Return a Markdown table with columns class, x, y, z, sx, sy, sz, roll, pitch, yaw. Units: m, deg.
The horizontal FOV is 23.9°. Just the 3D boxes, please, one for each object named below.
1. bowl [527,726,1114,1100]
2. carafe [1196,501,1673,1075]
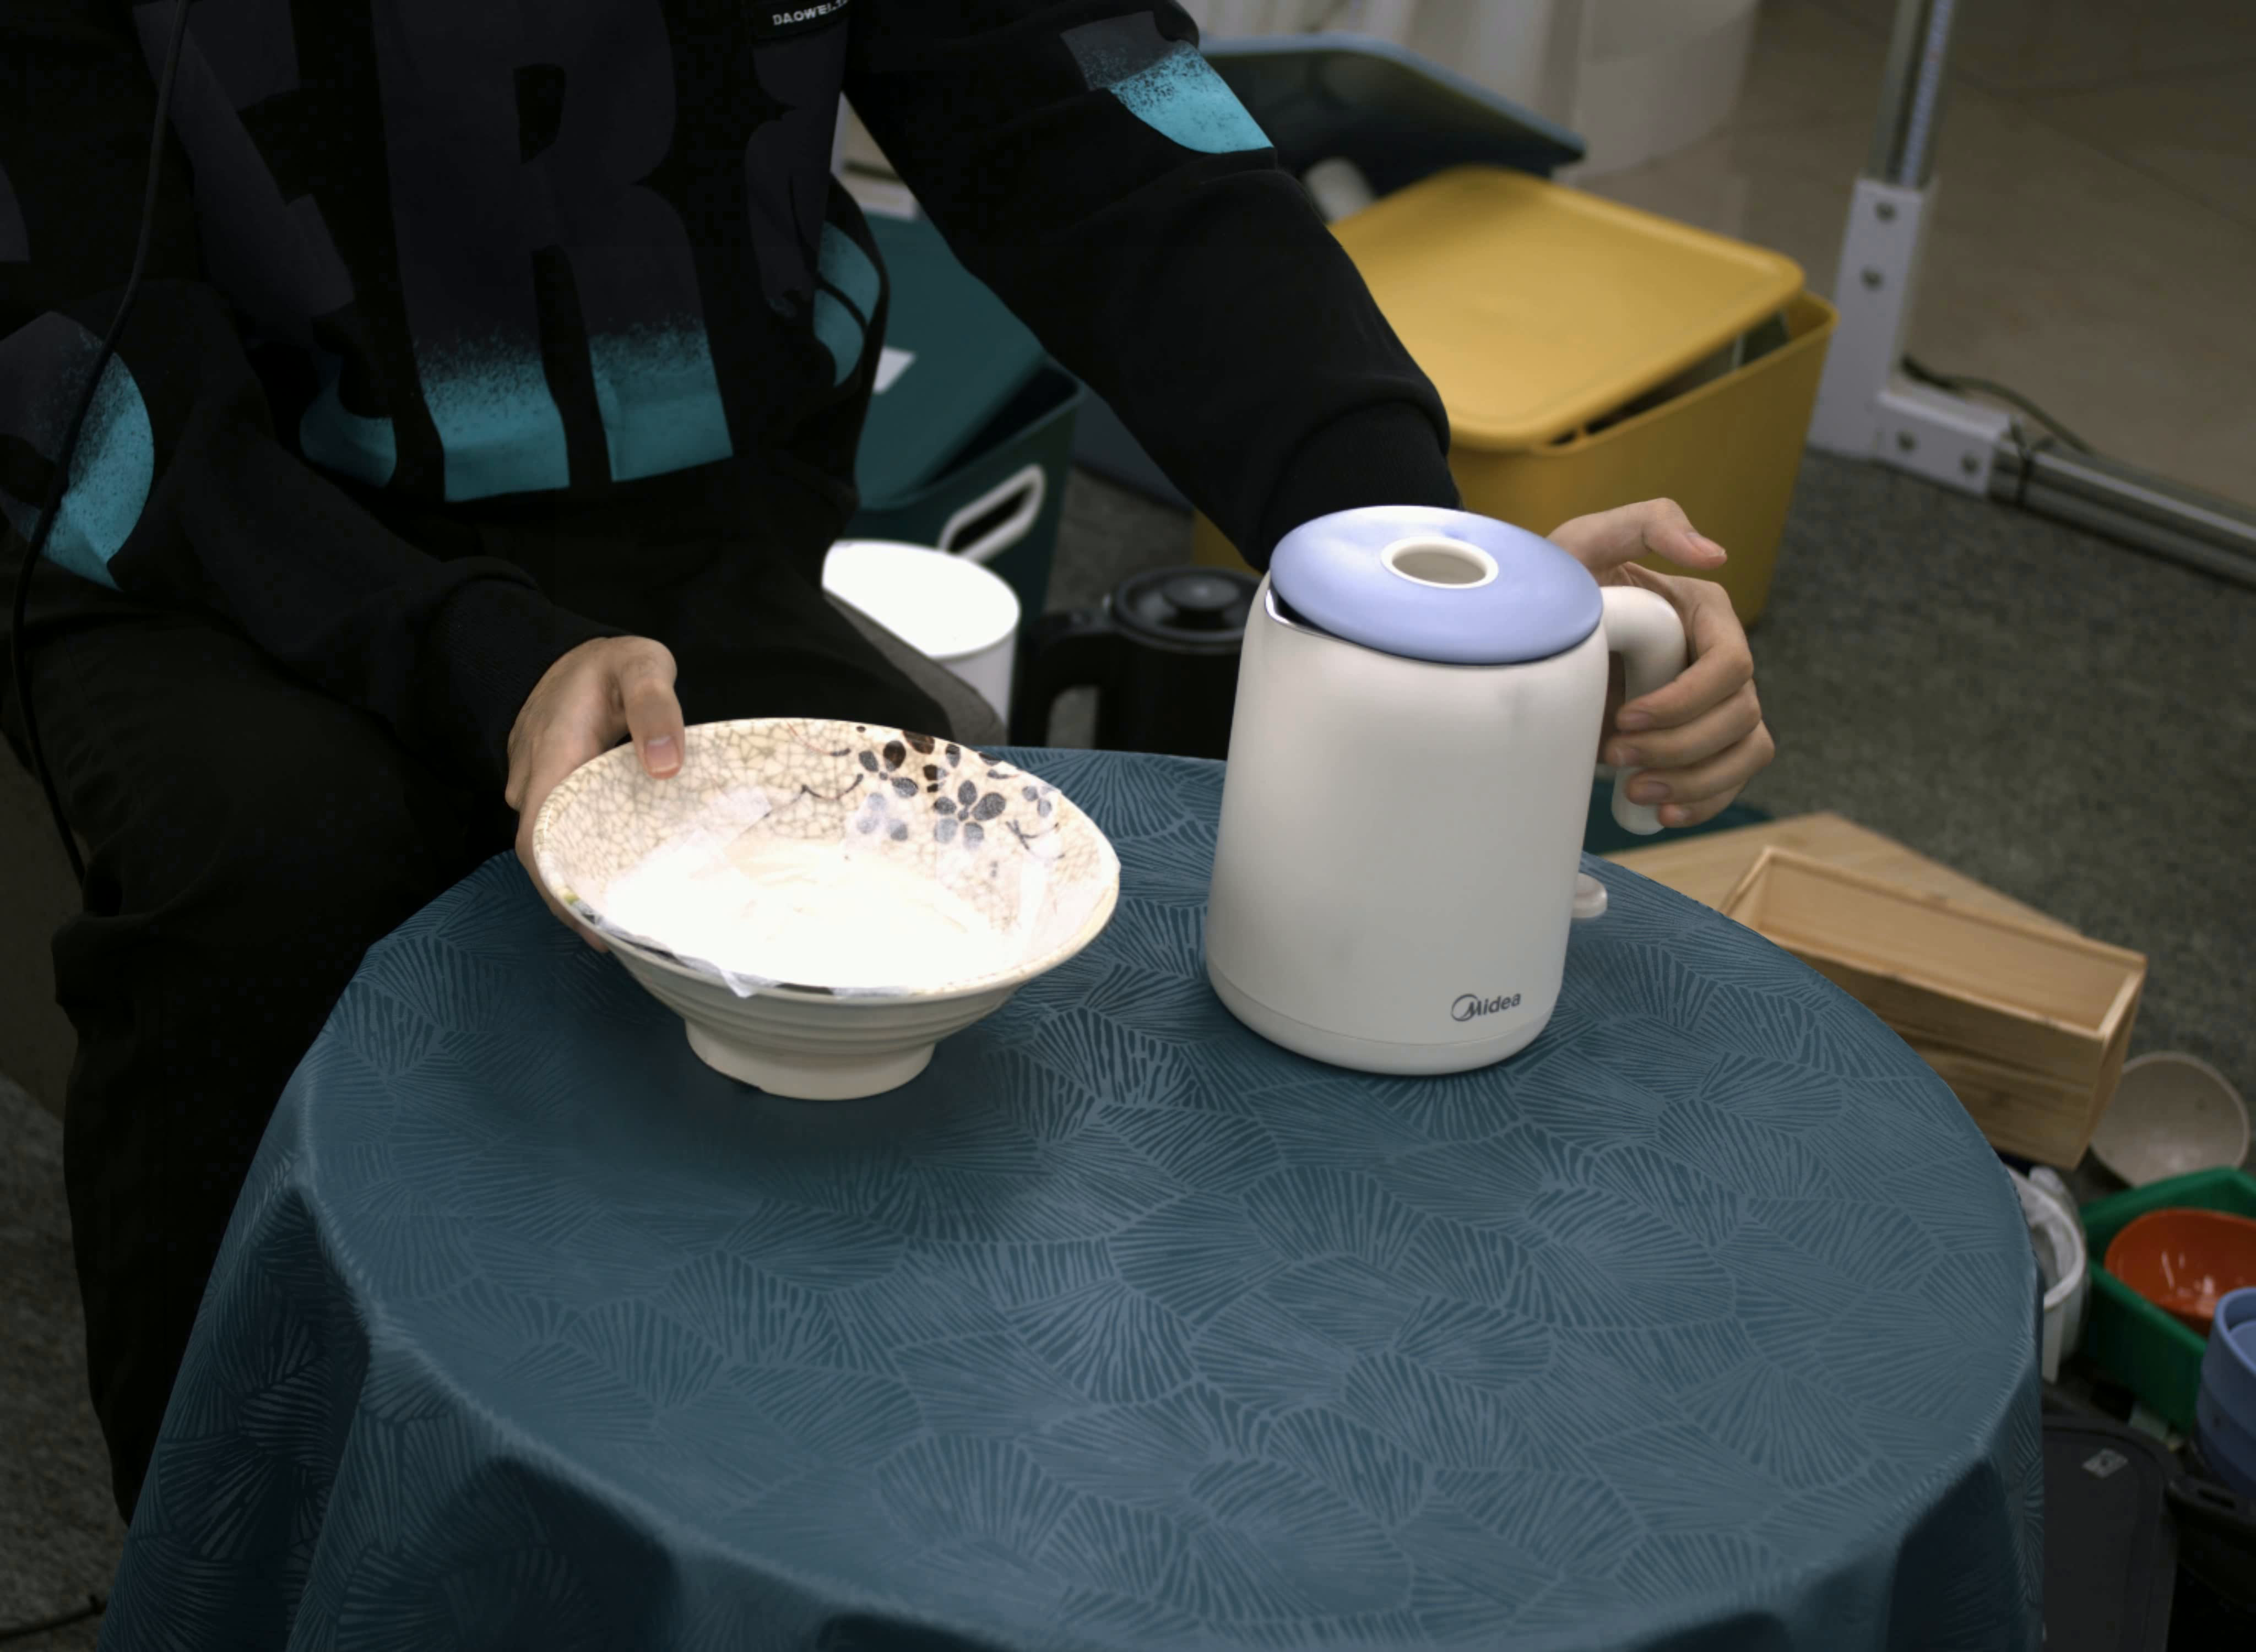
| class | x | y | z | sx | sy | sz | roll | pitch | yaw |
| --- | --- | --- | --- | --- | --- | --- | --- | --- | --- |
| bowl | -0.109 | 0.041 | 1.848 | 0.203 | 0.078 | 0.205 | 5 | 24 | -2 |
| carafe | 0.119 | -0.017 | 1.915 | 0.190 | 0.182 | 0.133 | -8 | 31 | -32 |
